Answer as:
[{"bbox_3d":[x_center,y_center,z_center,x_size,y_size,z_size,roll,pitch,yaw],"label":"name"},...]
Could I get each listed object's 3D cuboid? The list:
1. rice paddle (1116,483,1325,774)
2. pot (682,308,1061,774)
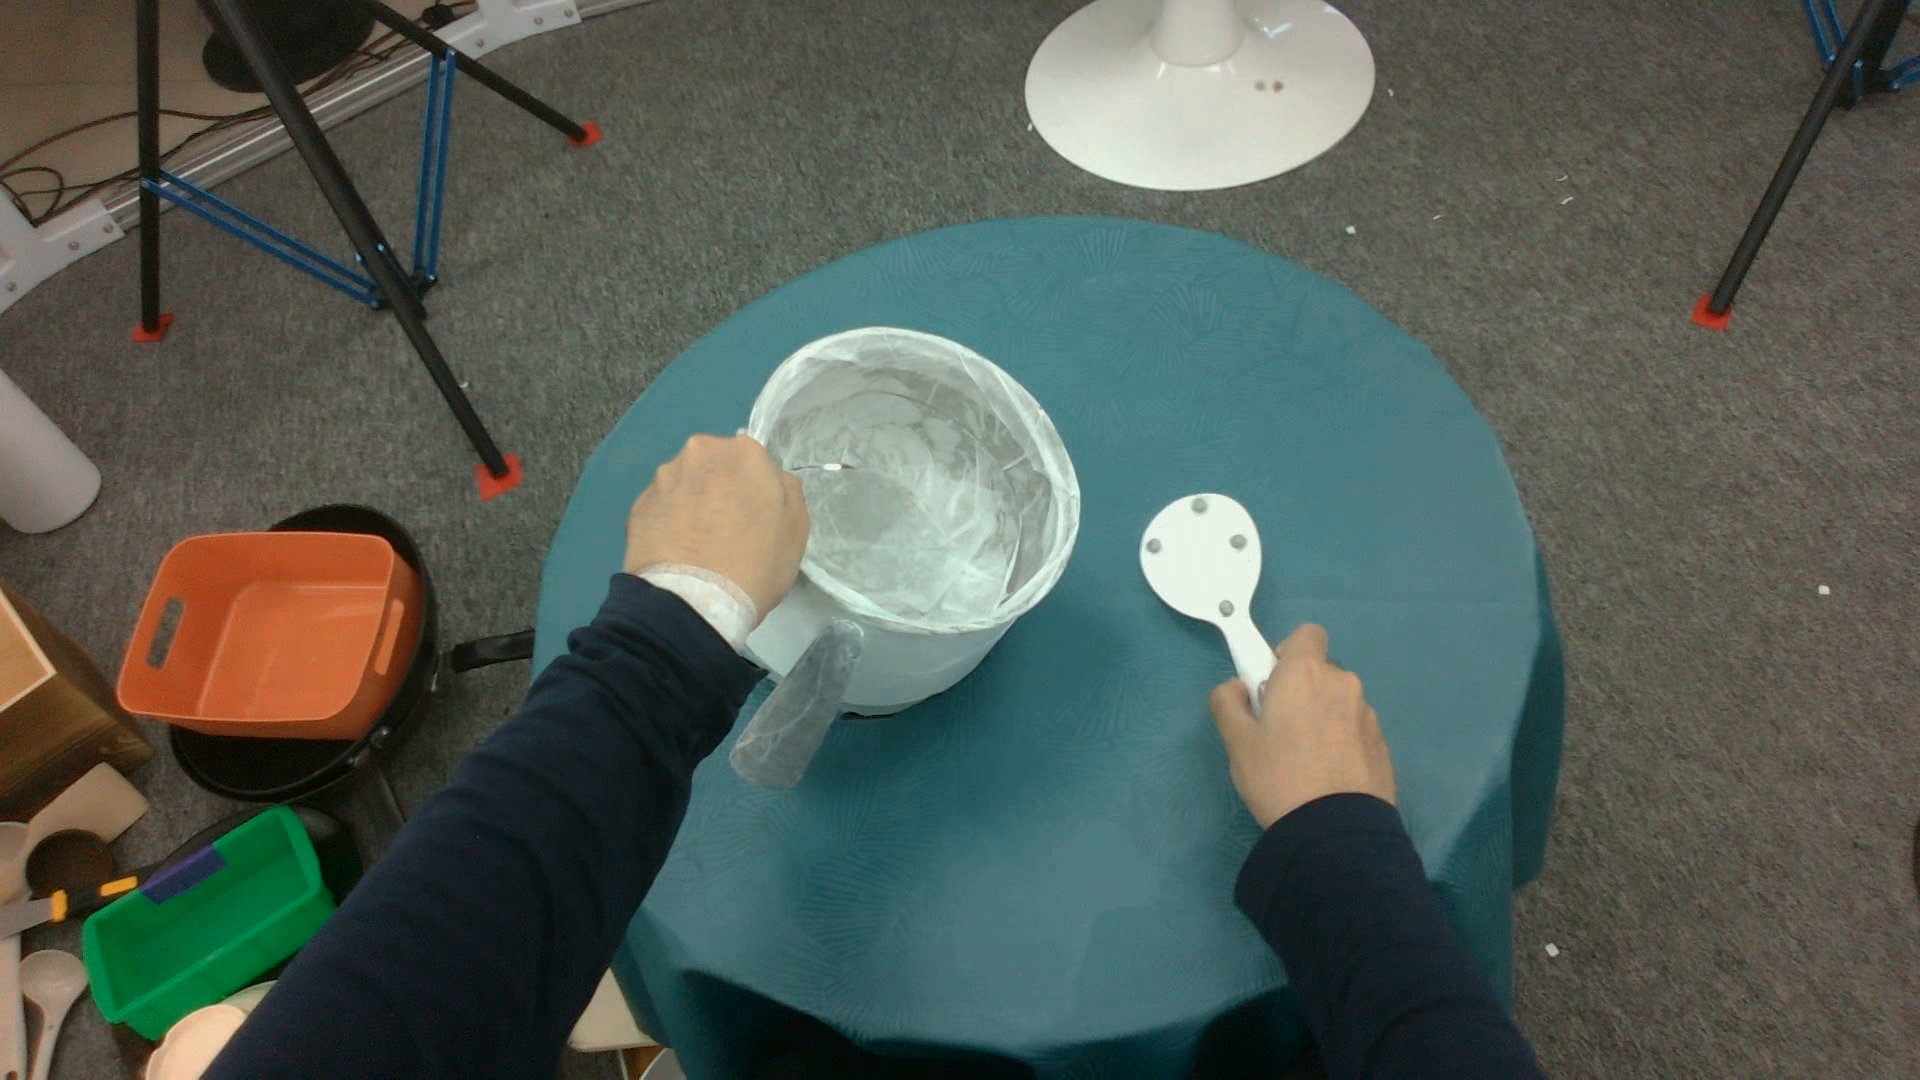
[{"bbox_3d":[0.140,0.038,0.756,0.069,0.029,0.206,-28,46,7],"label":"rice paddle"},{"bbox_3d":[-0.060,0.007,0.725,0.179,0.136,0.235,26,55,-8],"label":"pot"}]
